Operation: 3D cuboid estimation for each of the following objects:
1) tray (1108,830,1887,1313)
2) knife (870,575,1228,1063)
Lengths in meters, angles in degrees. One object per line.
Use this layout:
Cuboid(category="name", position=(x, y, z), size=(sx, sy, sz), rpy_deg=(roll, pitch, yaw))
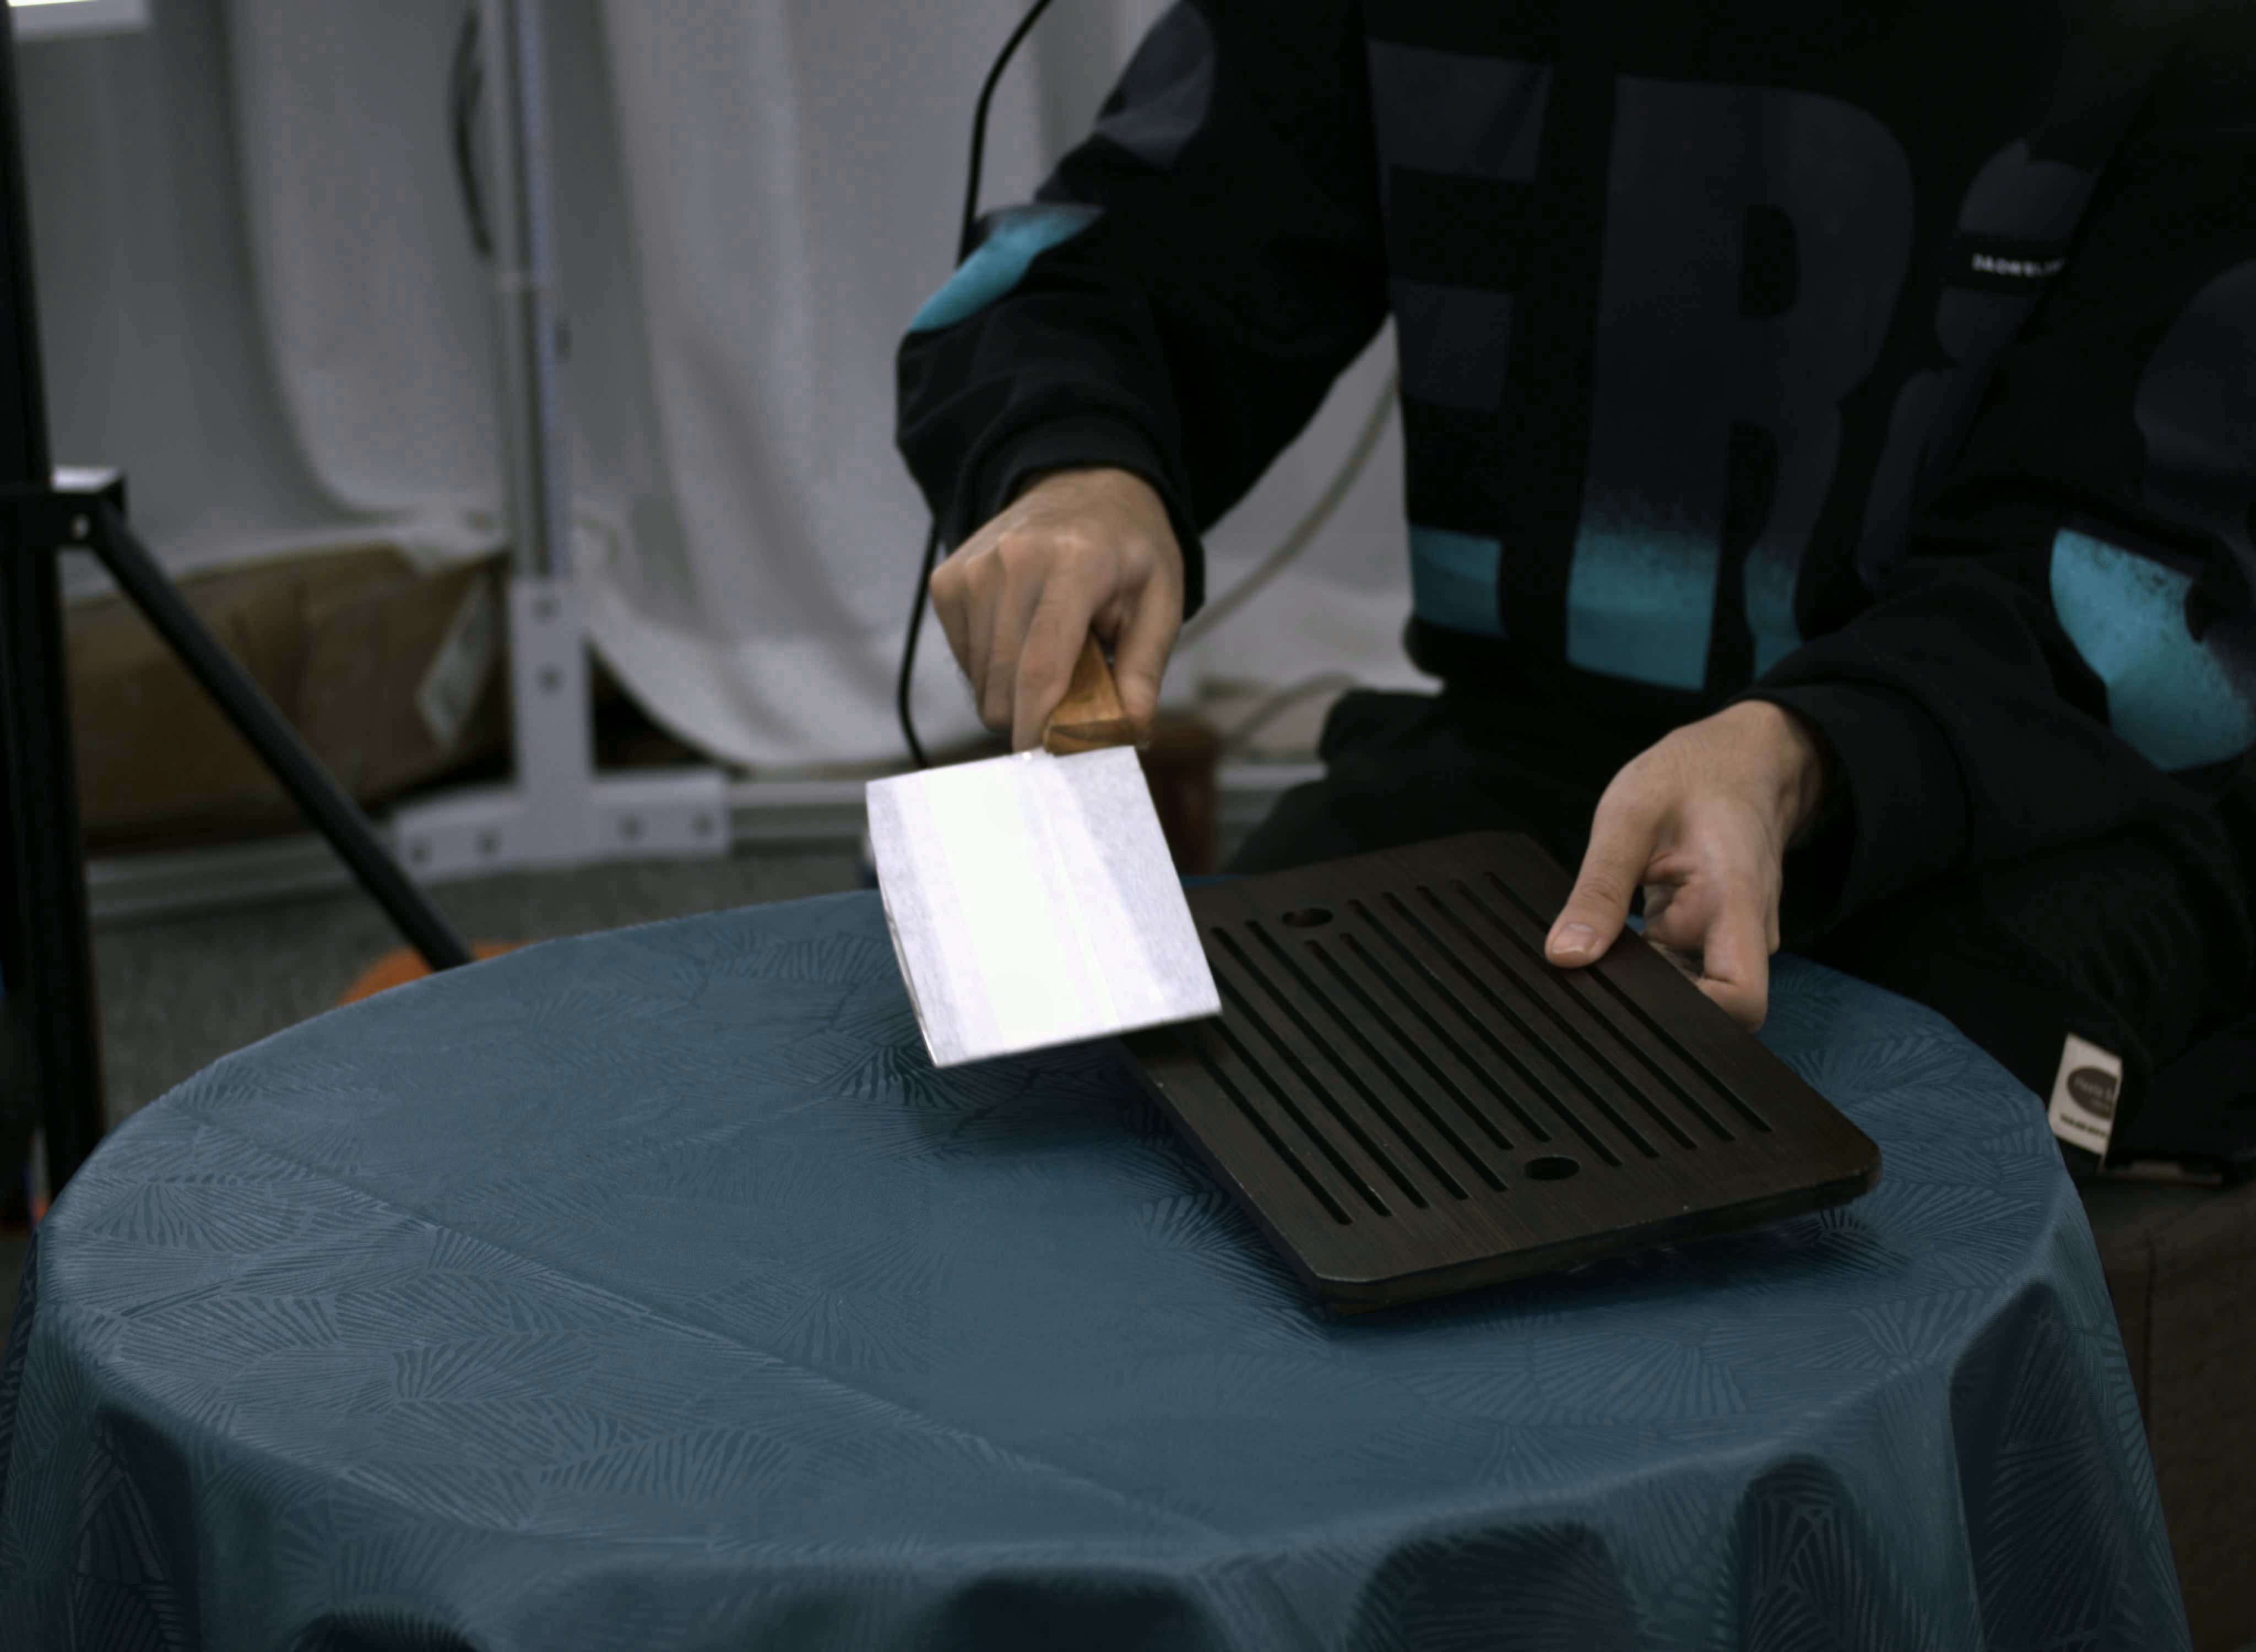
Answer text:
Cuboid(category="tray", position=(0.092, 0.070, 1.593), size=(0.168, 0.018, 0.311), rpy_deg=(-12, 21, -13))
Cuboid(category="knife", position=(-0.035, -0.004, 1.730), size=(0.092, 0.021, 0.310), rpy_deg=(-12, 29, -4))
